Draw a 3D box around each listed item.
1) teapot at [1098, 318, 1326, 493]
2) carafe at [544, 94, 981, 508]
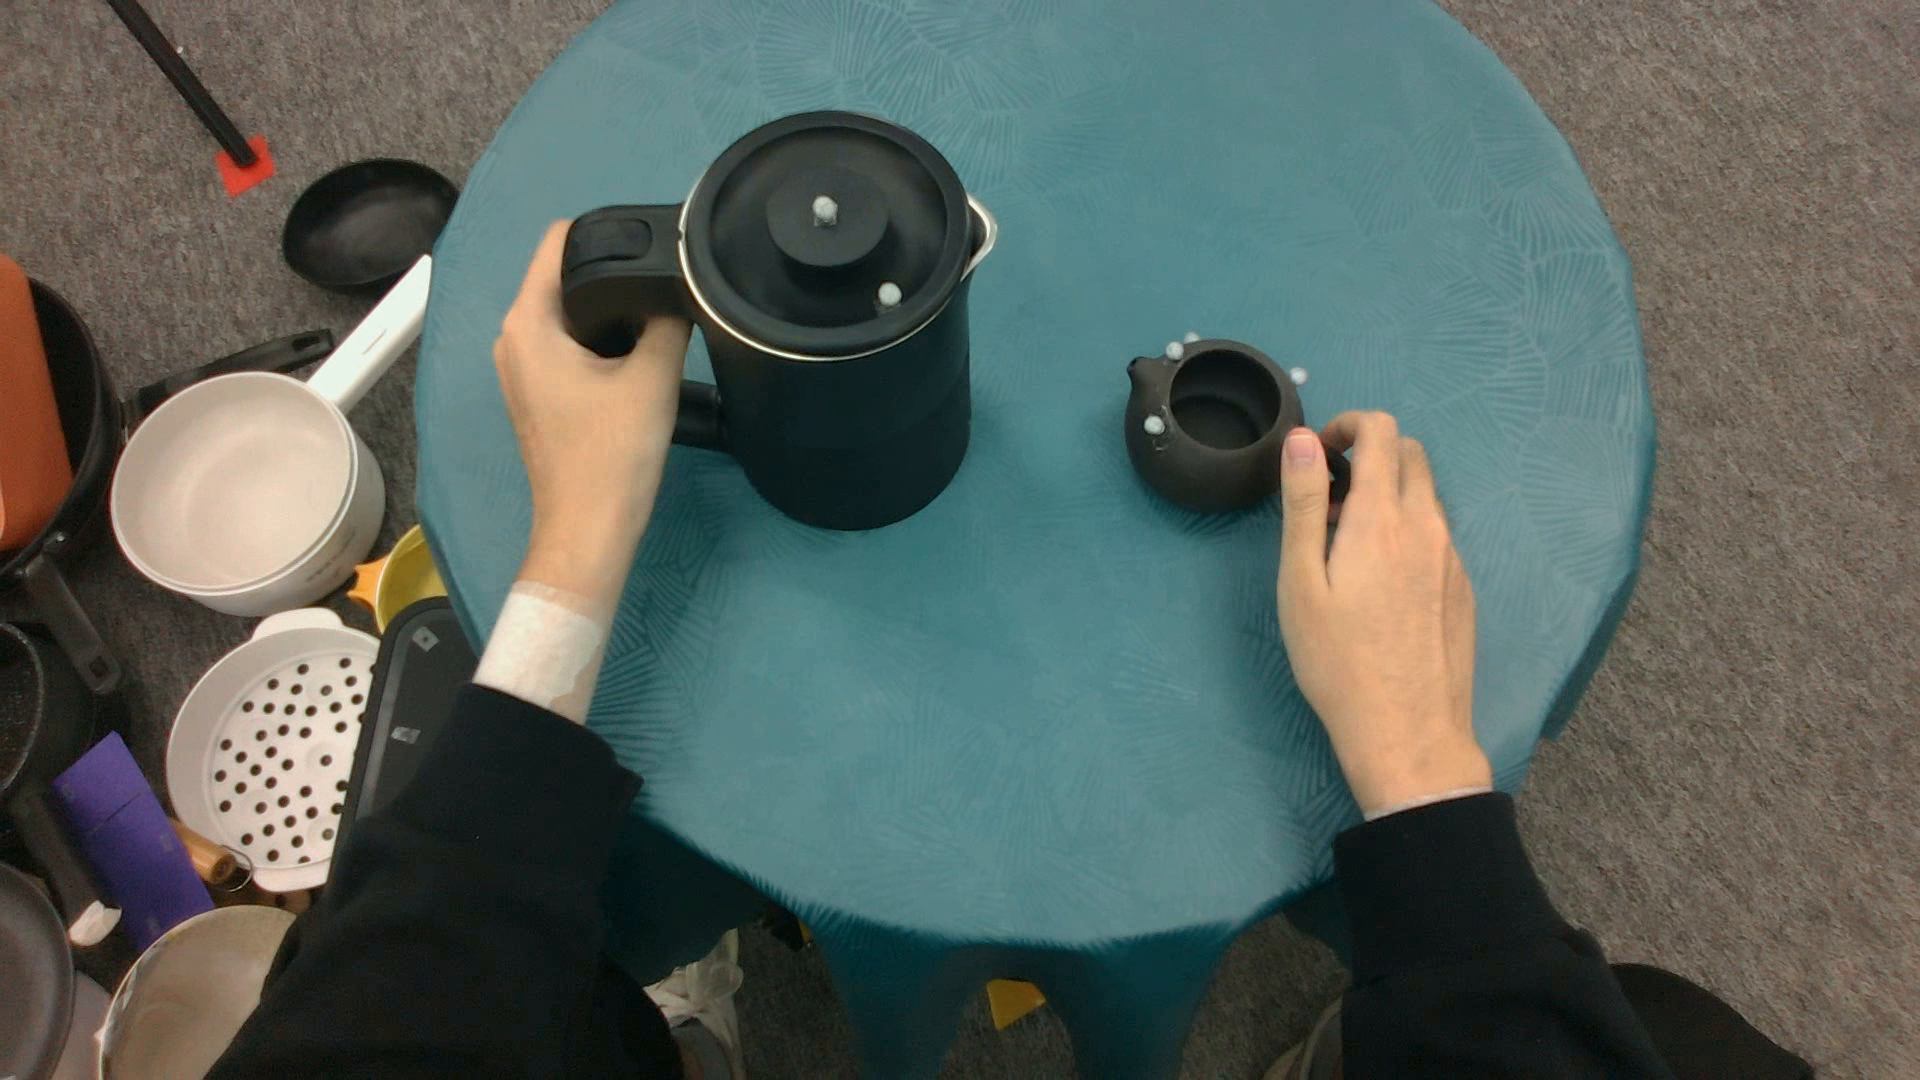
[{"bbox_3d":[0.115,-0.057,0.631,0.114,0.053,0.083,30,72,14],"label":"teapot"},{"bbox_3d":[-0.082,-0.094,0.578,0.172,0.173,0.115,-3,70,-5],"label":"carafe"}]
